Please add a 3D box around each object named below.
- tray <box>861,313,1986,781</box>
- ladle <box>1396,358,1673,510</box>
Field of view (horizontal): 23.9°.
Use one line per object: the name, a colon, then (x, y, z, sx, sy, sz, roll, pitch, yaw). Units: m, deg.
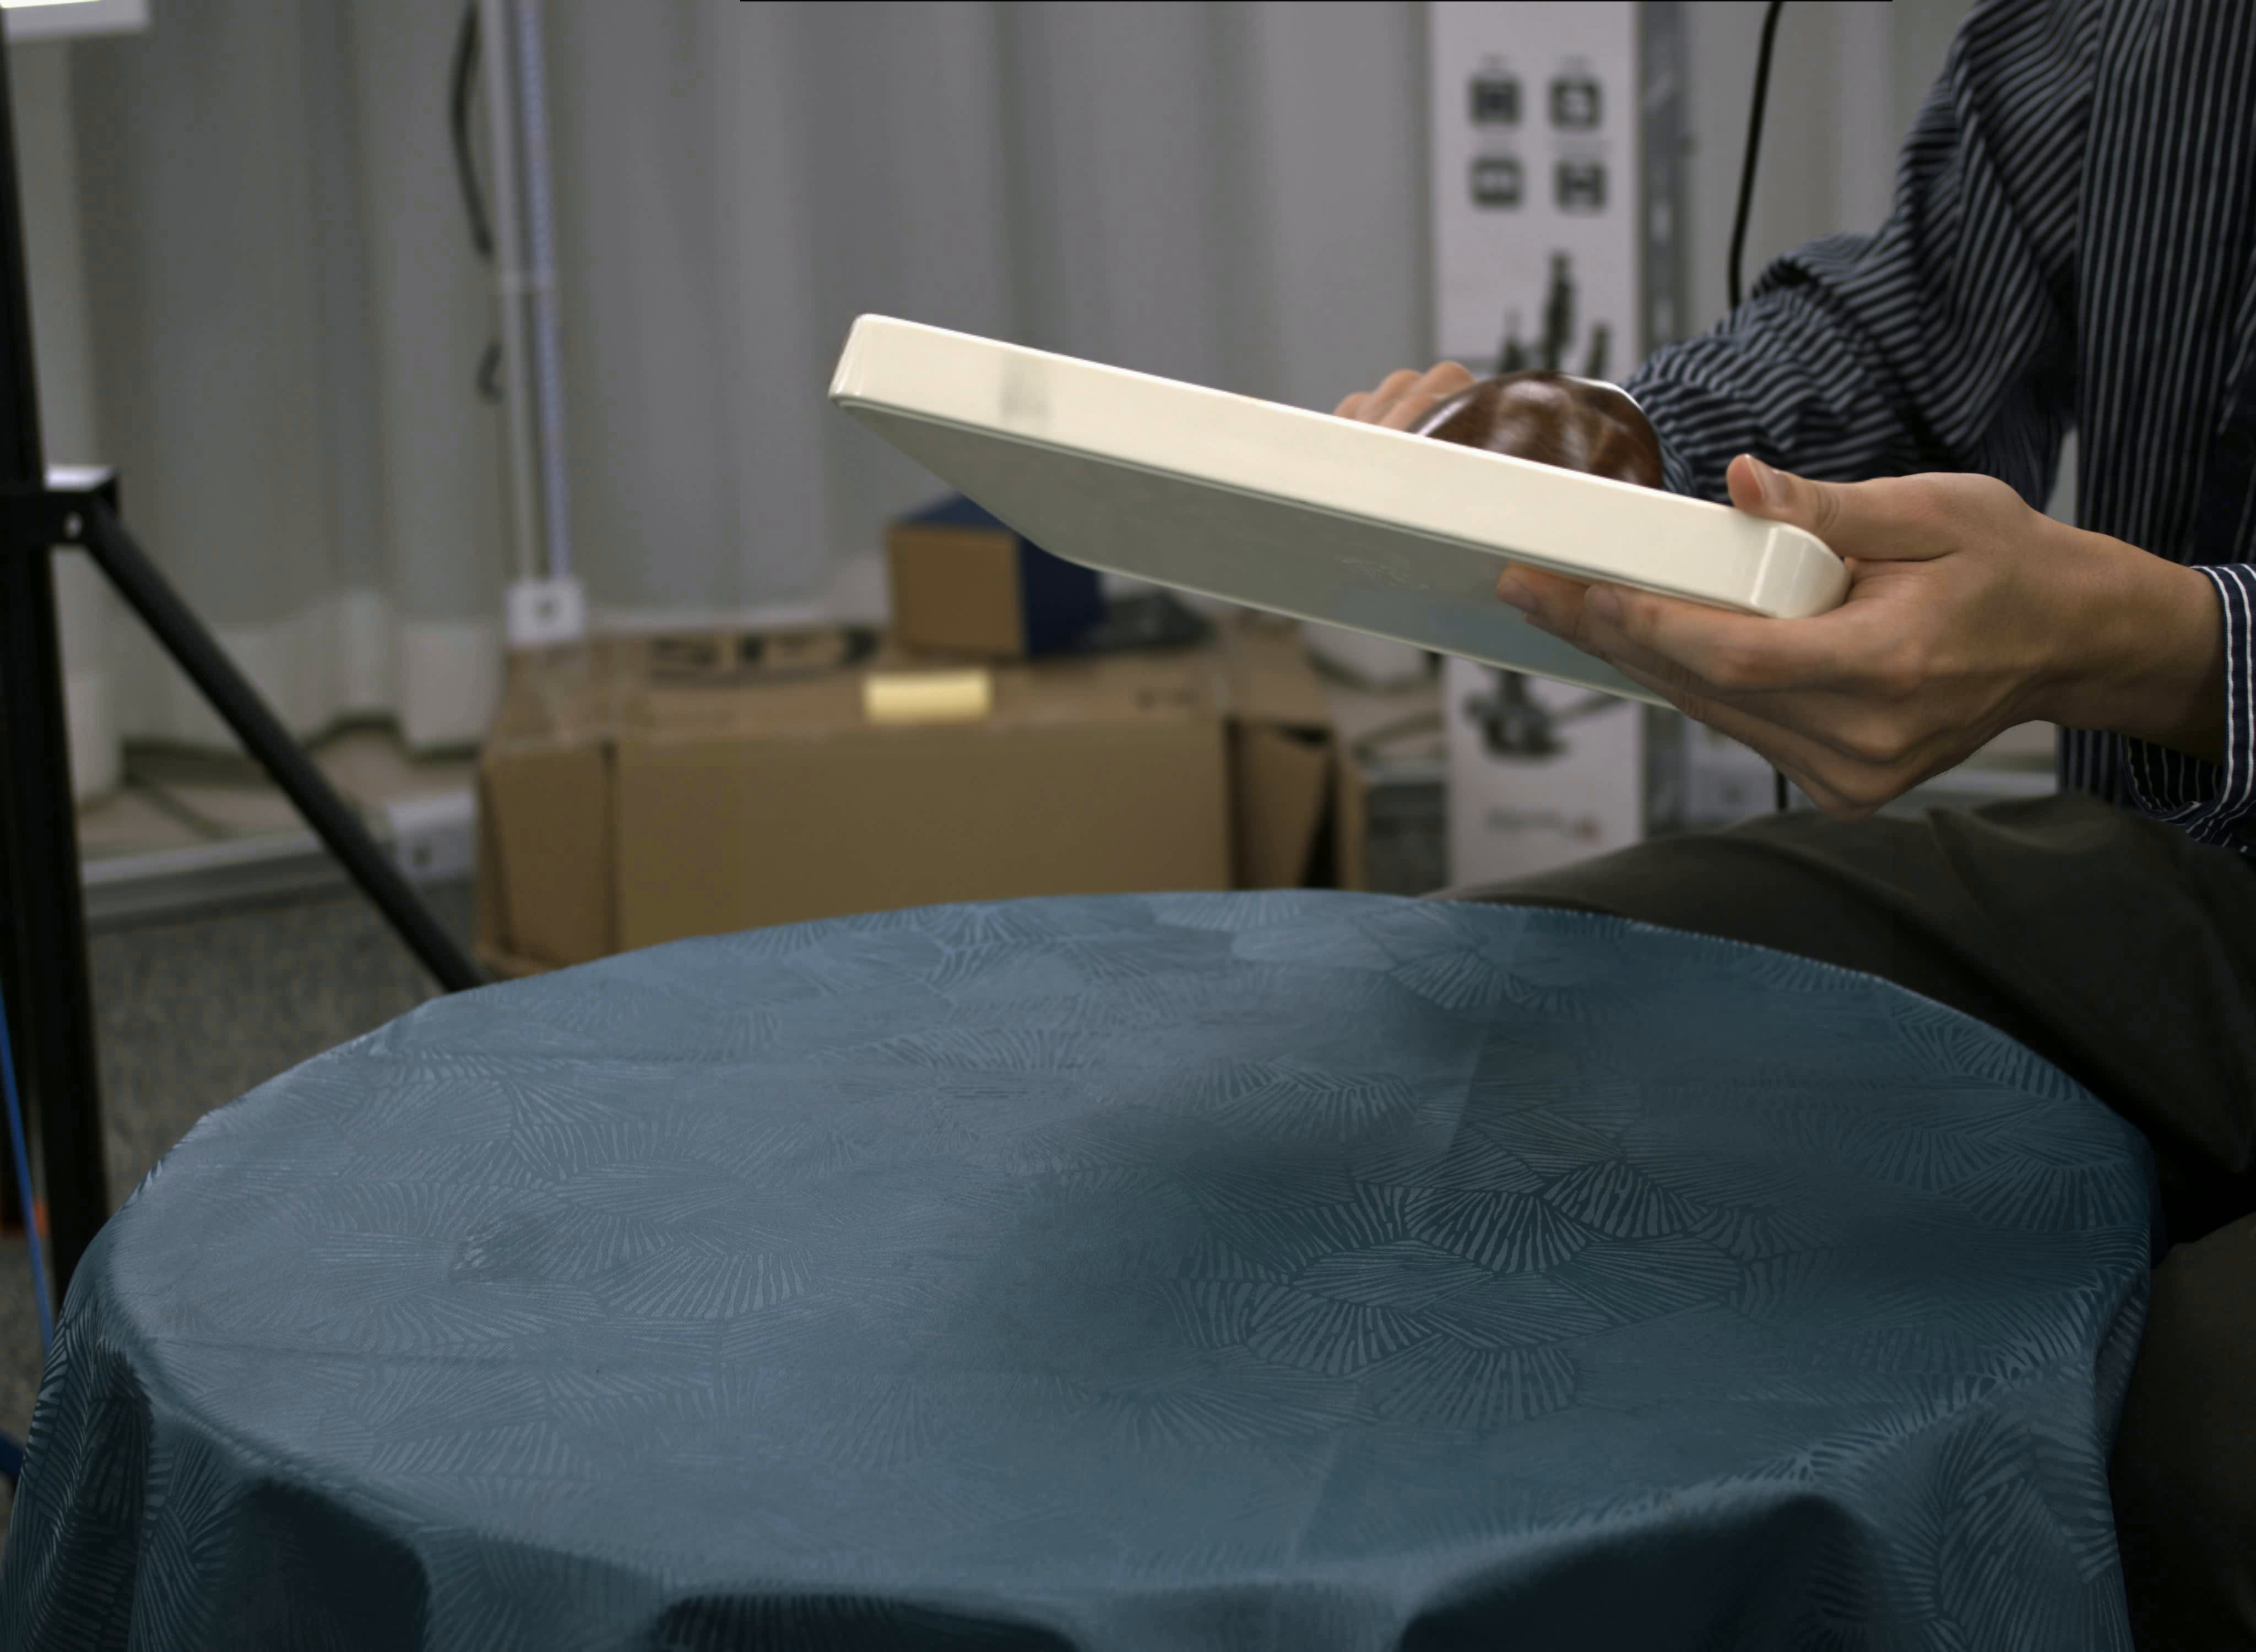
tray: (0.086, -0.078, 1.527, 0.305, 0.027, 0.187, 15, -8, 27)
ladle: (0.110, -0.095, 1.671, 0.081, 0.077, 0.274, -43, 0, -6)
